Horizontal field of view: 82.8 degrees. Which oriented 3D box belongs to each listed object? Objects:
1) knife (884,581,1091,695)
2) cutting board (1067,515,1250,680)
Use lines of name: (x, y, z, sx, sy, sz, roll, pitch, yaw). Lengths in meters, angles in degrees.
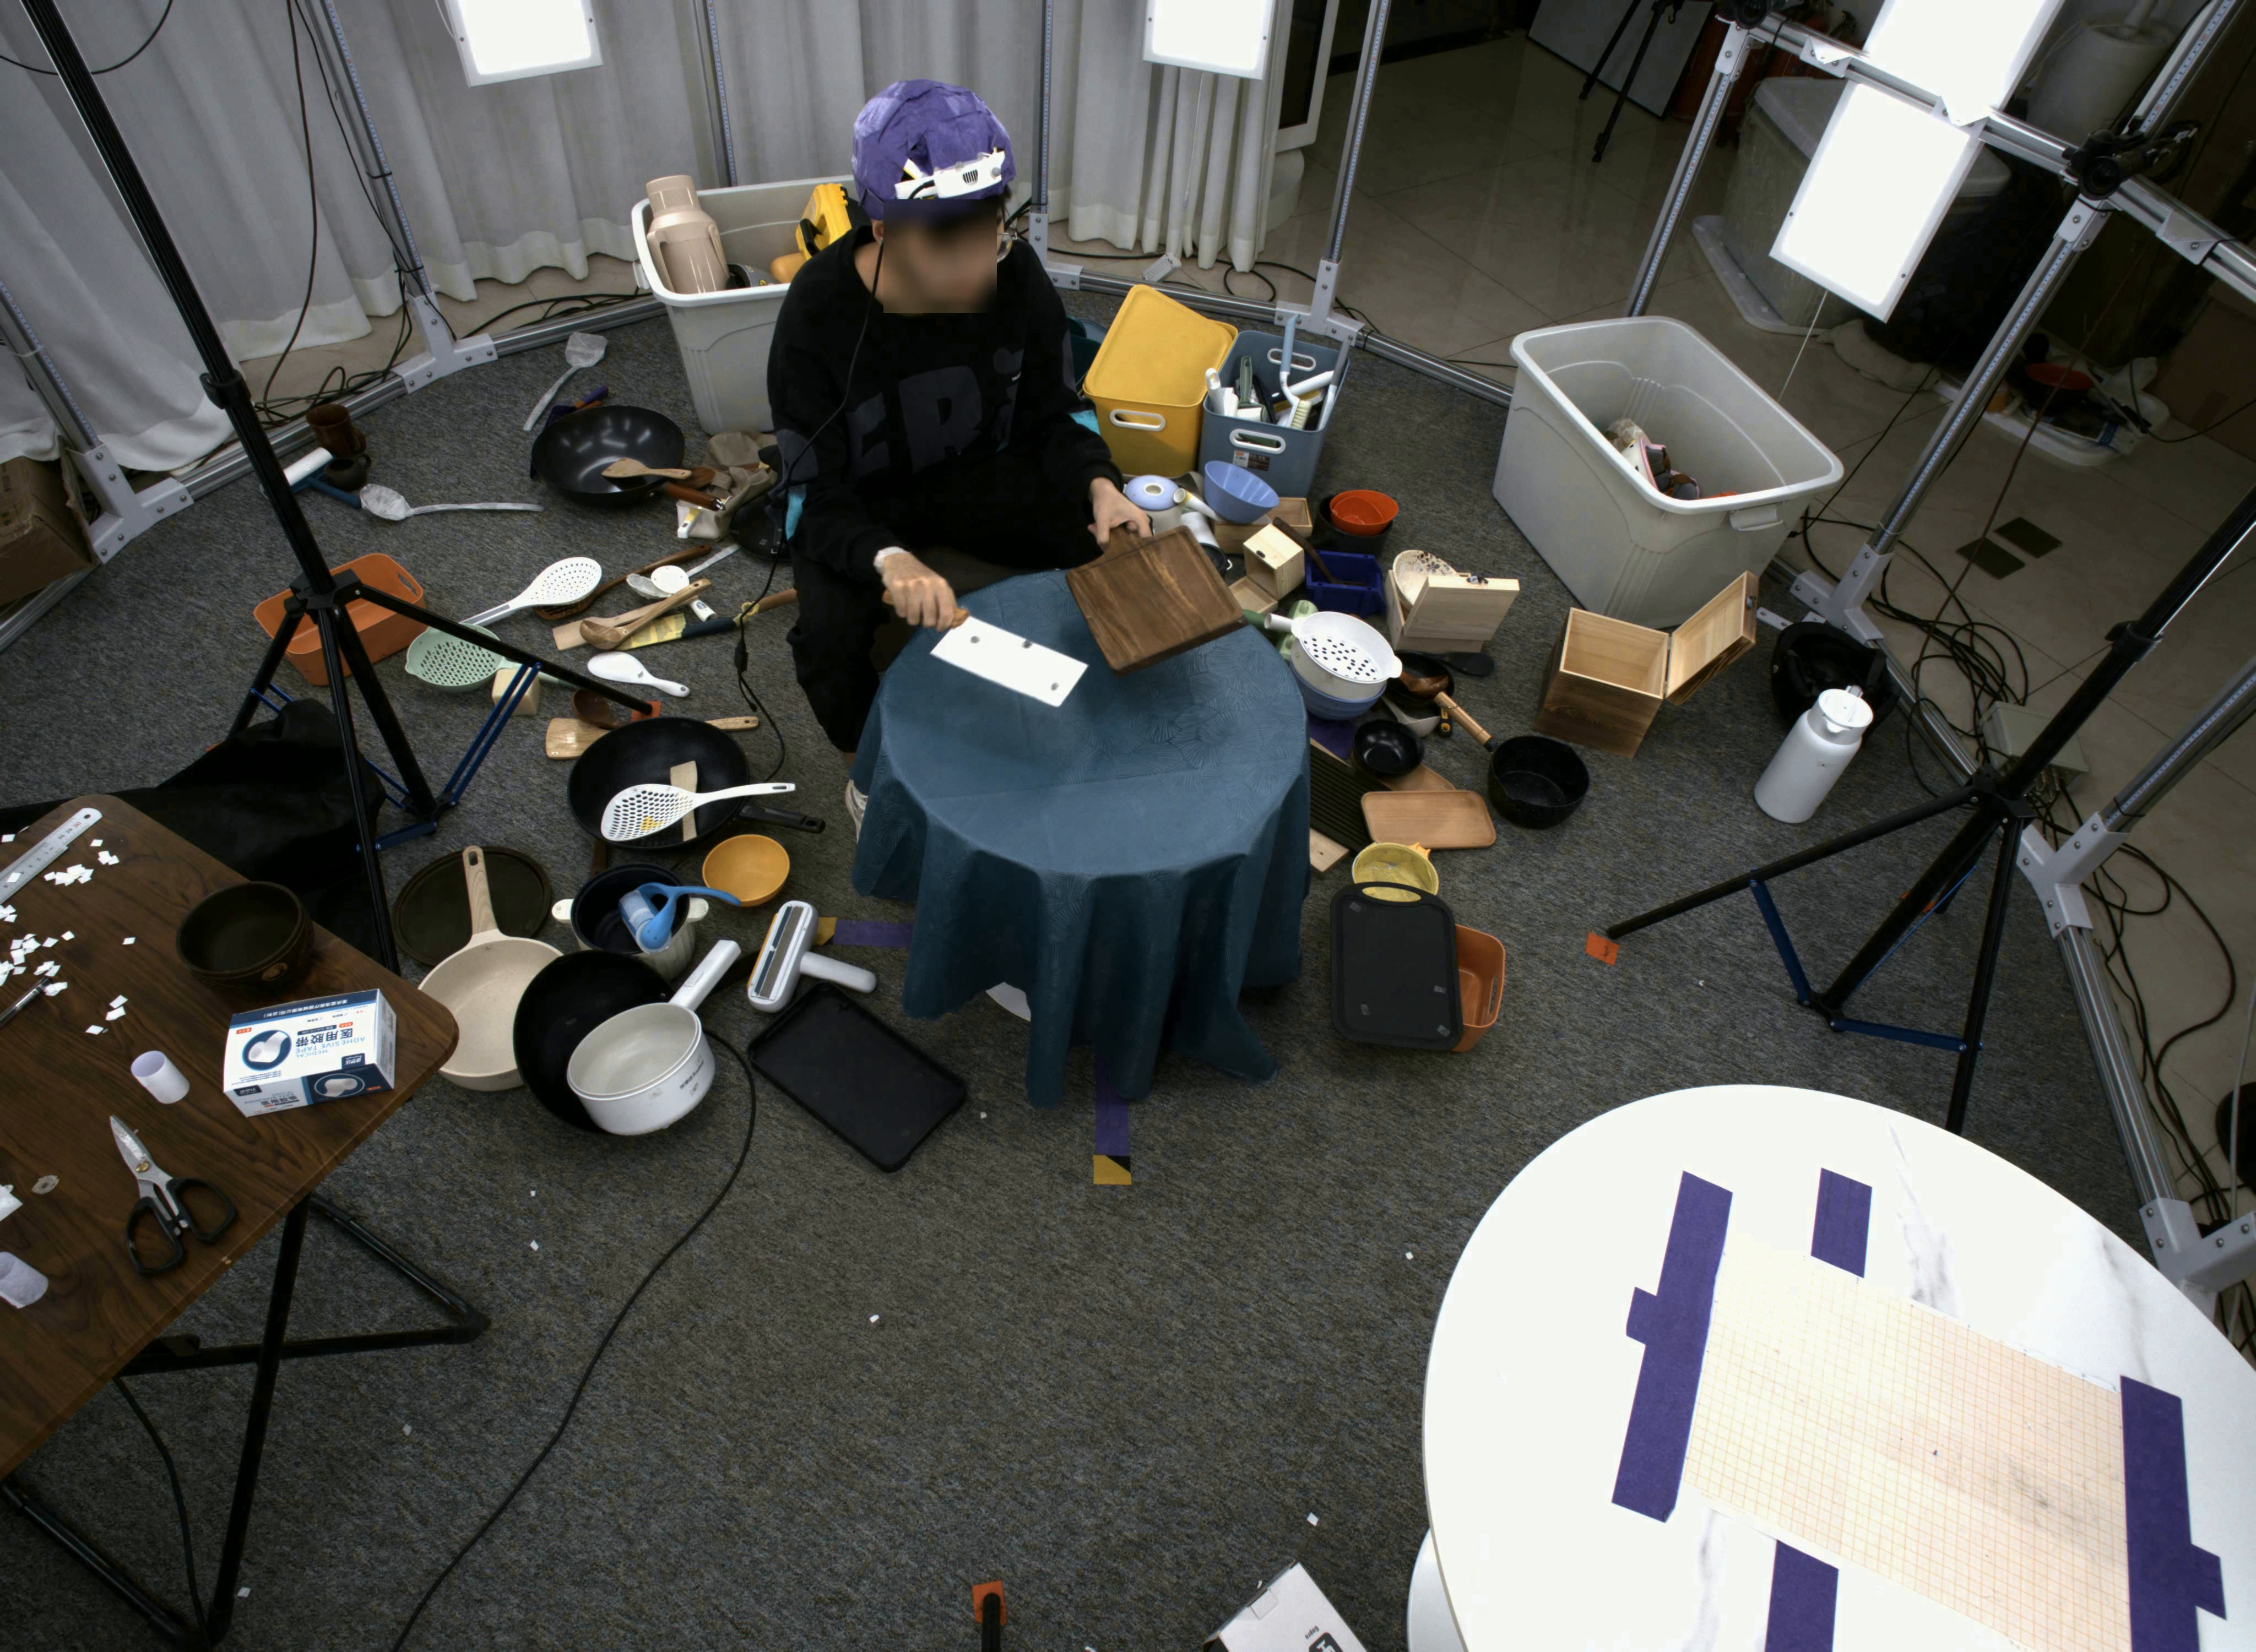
knife: (-0.199, -0.247, 1.715, 0.307, 0.020, 0.094, 23, 50, 11)
cutting board: (0.023, -0.350, 1.838, 0.201, 0.022, 0.361, -23, 44, -1)
